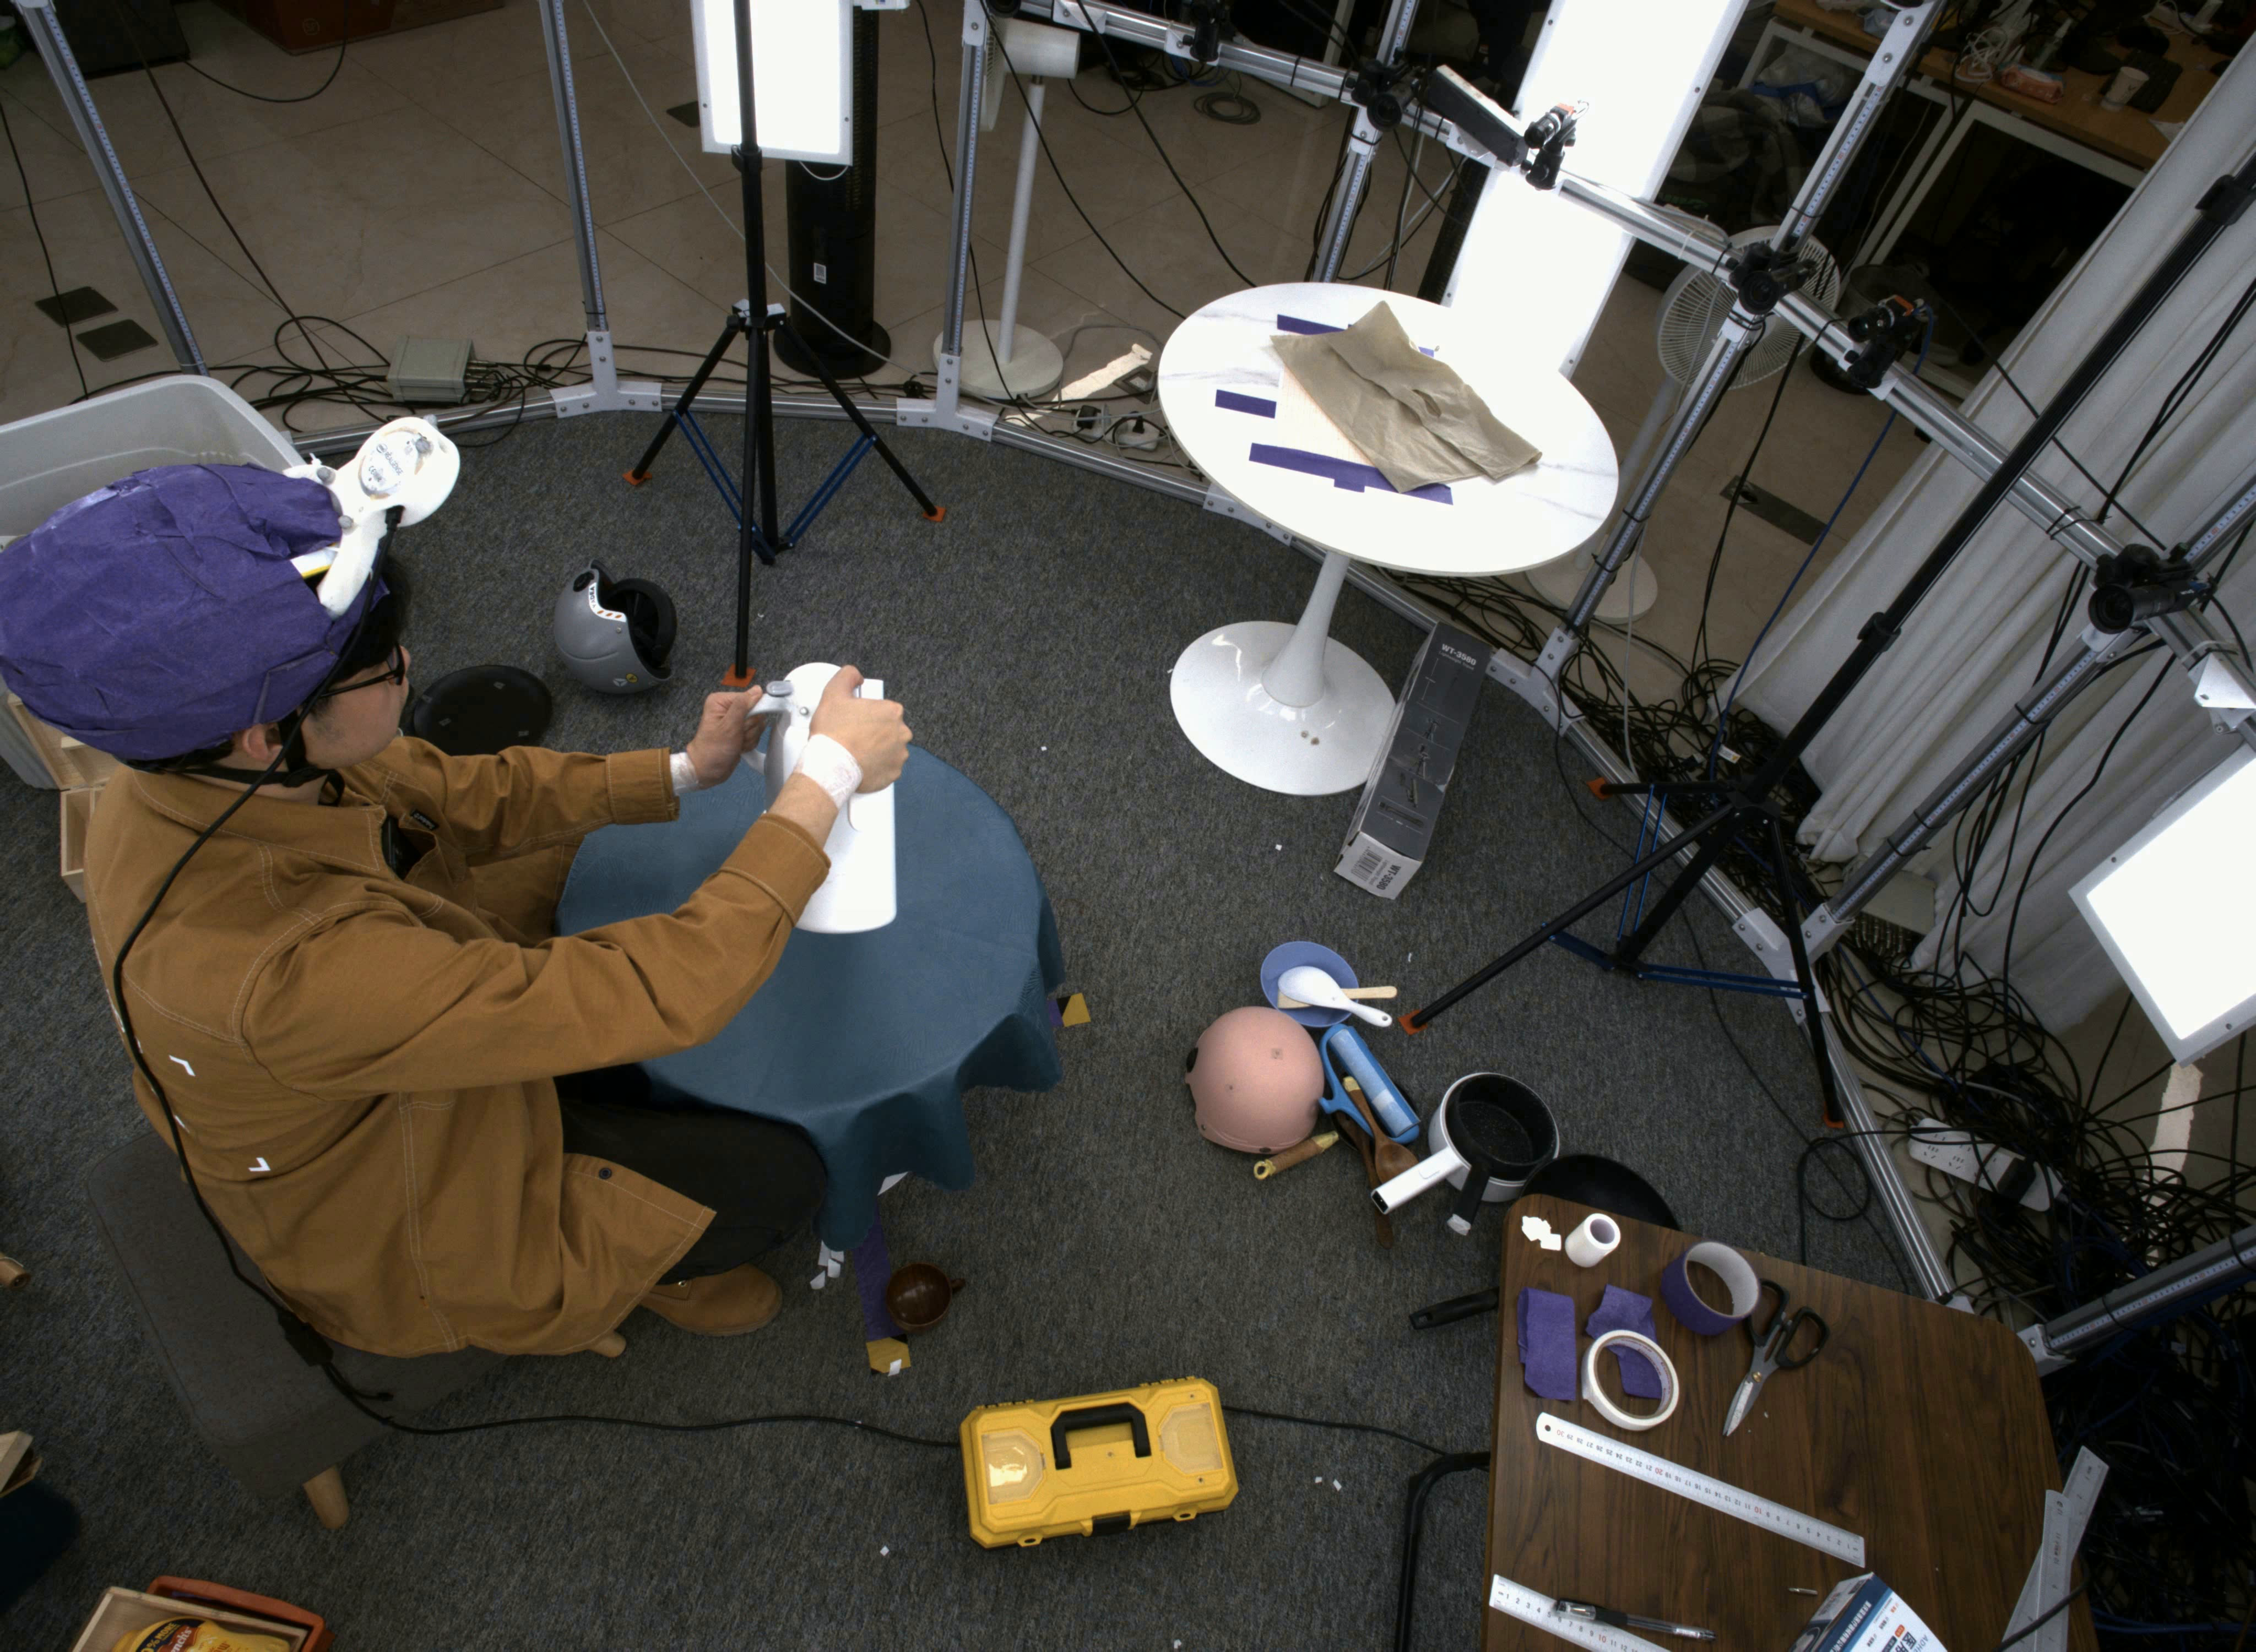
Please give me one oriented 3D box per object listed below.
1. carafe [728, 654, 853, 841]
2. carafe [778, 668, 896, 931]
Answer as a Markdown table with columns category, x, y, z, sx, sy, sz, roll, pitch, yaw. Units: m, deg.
| category | x | y | z | sx | sy | sz | roll | pitch | yaw |
| --- | --- | --- | --- | --- | --- | --- | --- | --- | --- |
| carafe | -0.399 | -0.096 | 1.576 | 0.168 | 0.253 | 0.130 | 4 | 56 | -11 |
| carafe | -0.303 | -0.029 | 1.371 | 0.125 | 0.274 | 0.167 | -3 | 11 | -26 |
